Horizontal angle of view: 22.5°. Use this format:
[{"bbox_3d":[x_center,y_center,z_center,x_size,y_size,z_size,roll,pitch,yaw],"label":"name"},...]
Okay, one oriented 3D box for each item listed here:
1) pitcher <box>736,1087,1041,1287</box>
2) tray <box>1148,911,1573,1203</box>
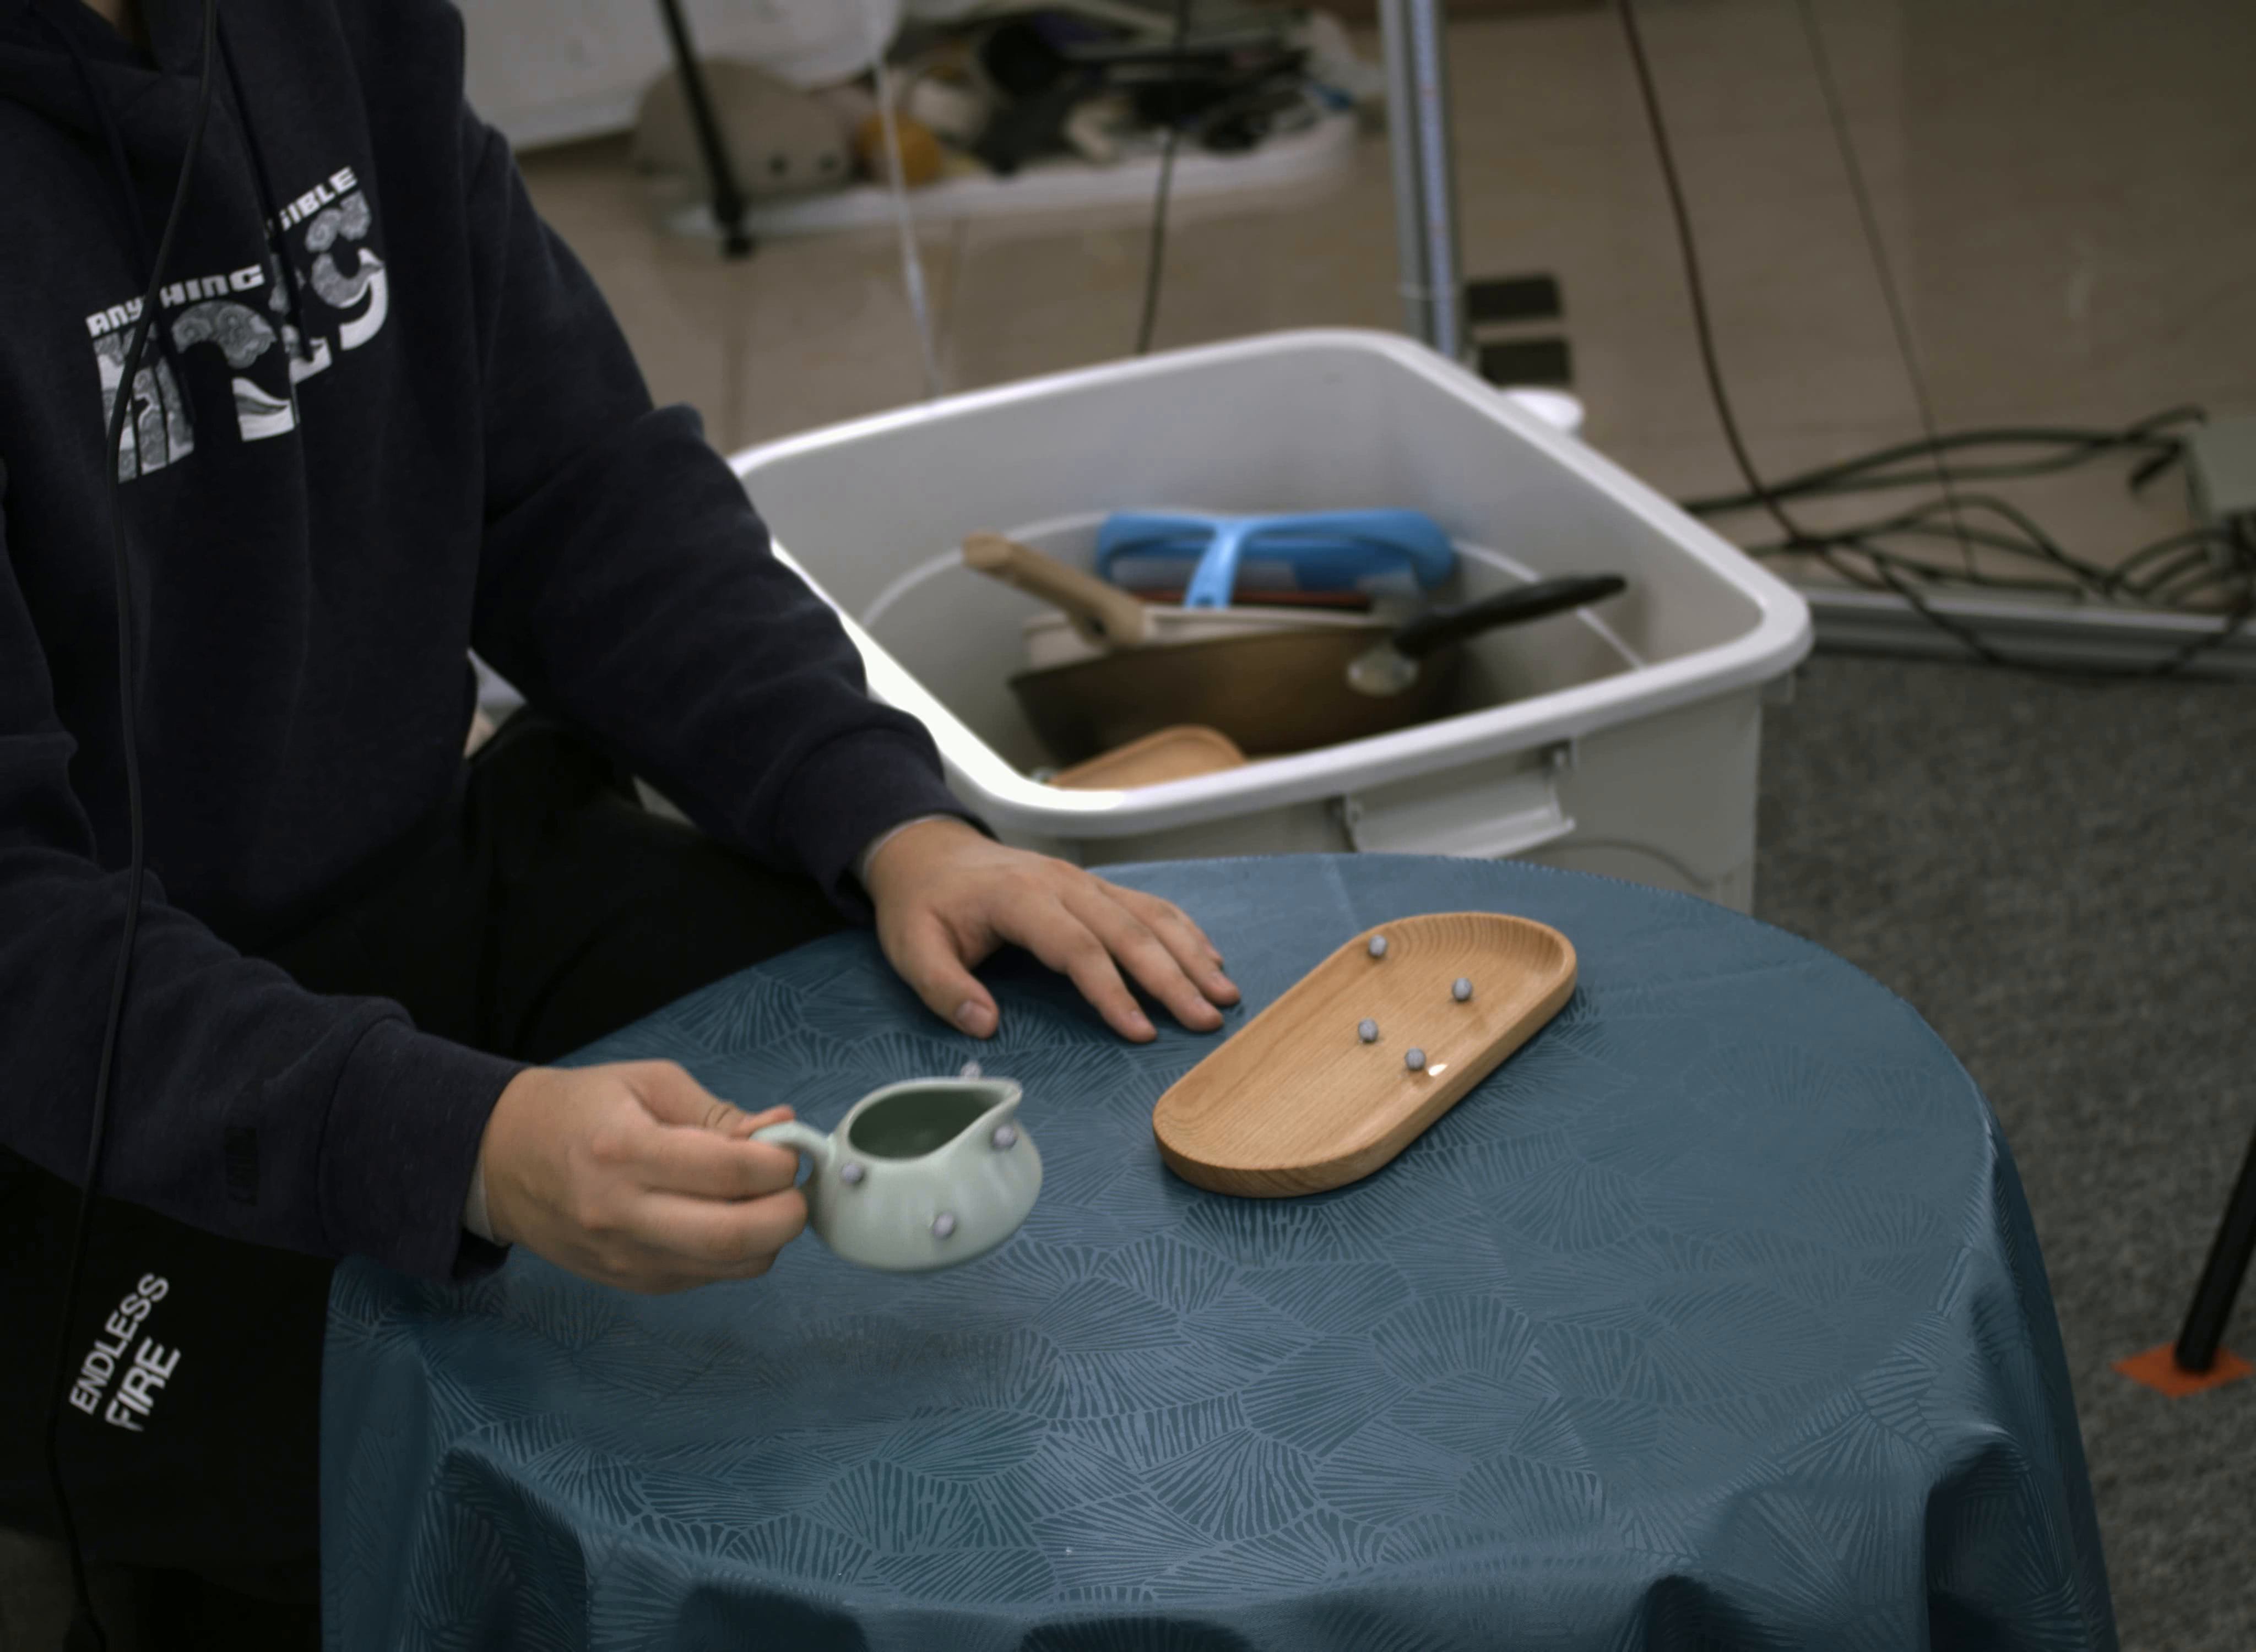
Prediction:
[{"bbox_3d":[-0.086,0.129,2.026,0.108,0.061,0.084,-14,33,0],"label":"pitcher"},{"bbox_3d":[0.093,0.089,2.216,0.101,0.020,0.228,8,30,32],"label":"tray"}]
